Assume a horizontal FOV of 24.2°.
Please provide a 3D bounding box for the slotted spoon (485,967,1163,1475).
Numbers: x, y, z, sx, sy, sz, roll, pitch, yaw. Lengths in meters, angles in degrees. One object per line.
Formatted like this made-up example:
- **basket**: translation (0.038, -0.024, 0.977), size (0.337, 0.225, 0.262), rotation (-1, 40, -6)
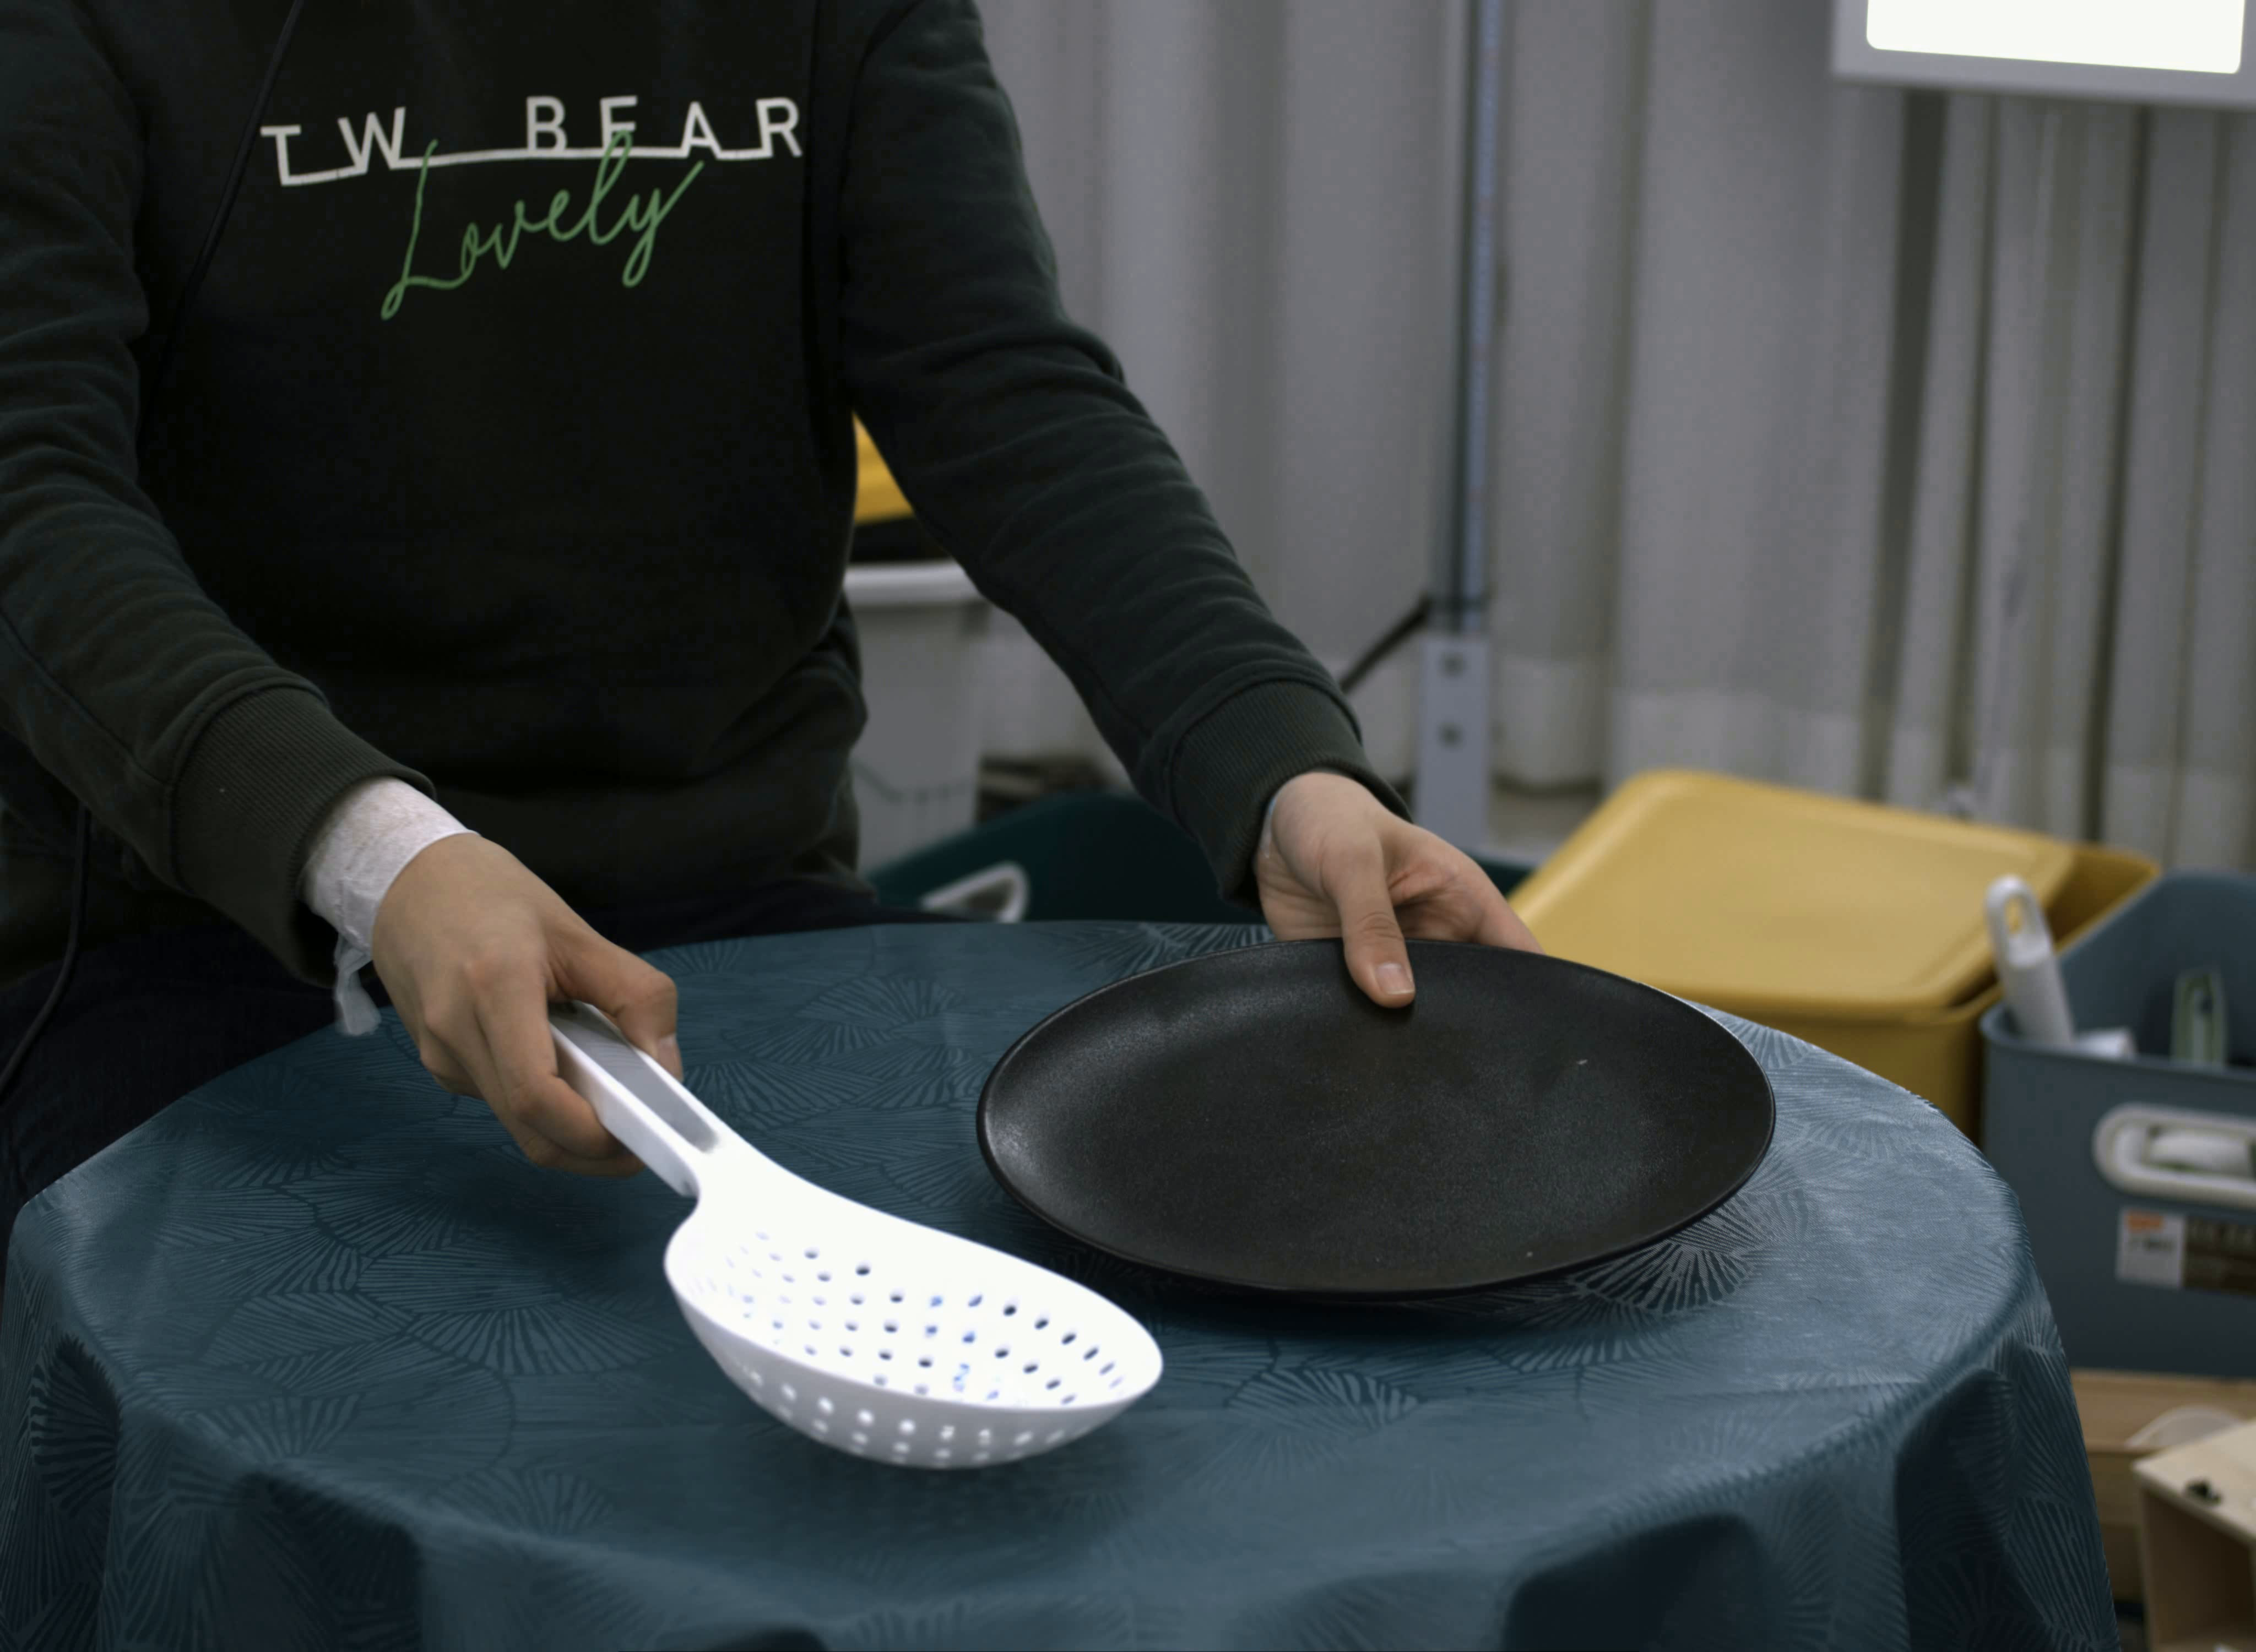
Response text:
- **slotted spoon**: translation (-0.109, 0.104, 1.494), size (0.137, 0.046, 0.345), rotation (7, 20, -32)

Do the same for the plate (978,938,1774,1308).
- **plate**: translation (0.076, 0.093, 1.610), size (0.243, 0.023, 0.242), rotation (-1, 24, 1)
